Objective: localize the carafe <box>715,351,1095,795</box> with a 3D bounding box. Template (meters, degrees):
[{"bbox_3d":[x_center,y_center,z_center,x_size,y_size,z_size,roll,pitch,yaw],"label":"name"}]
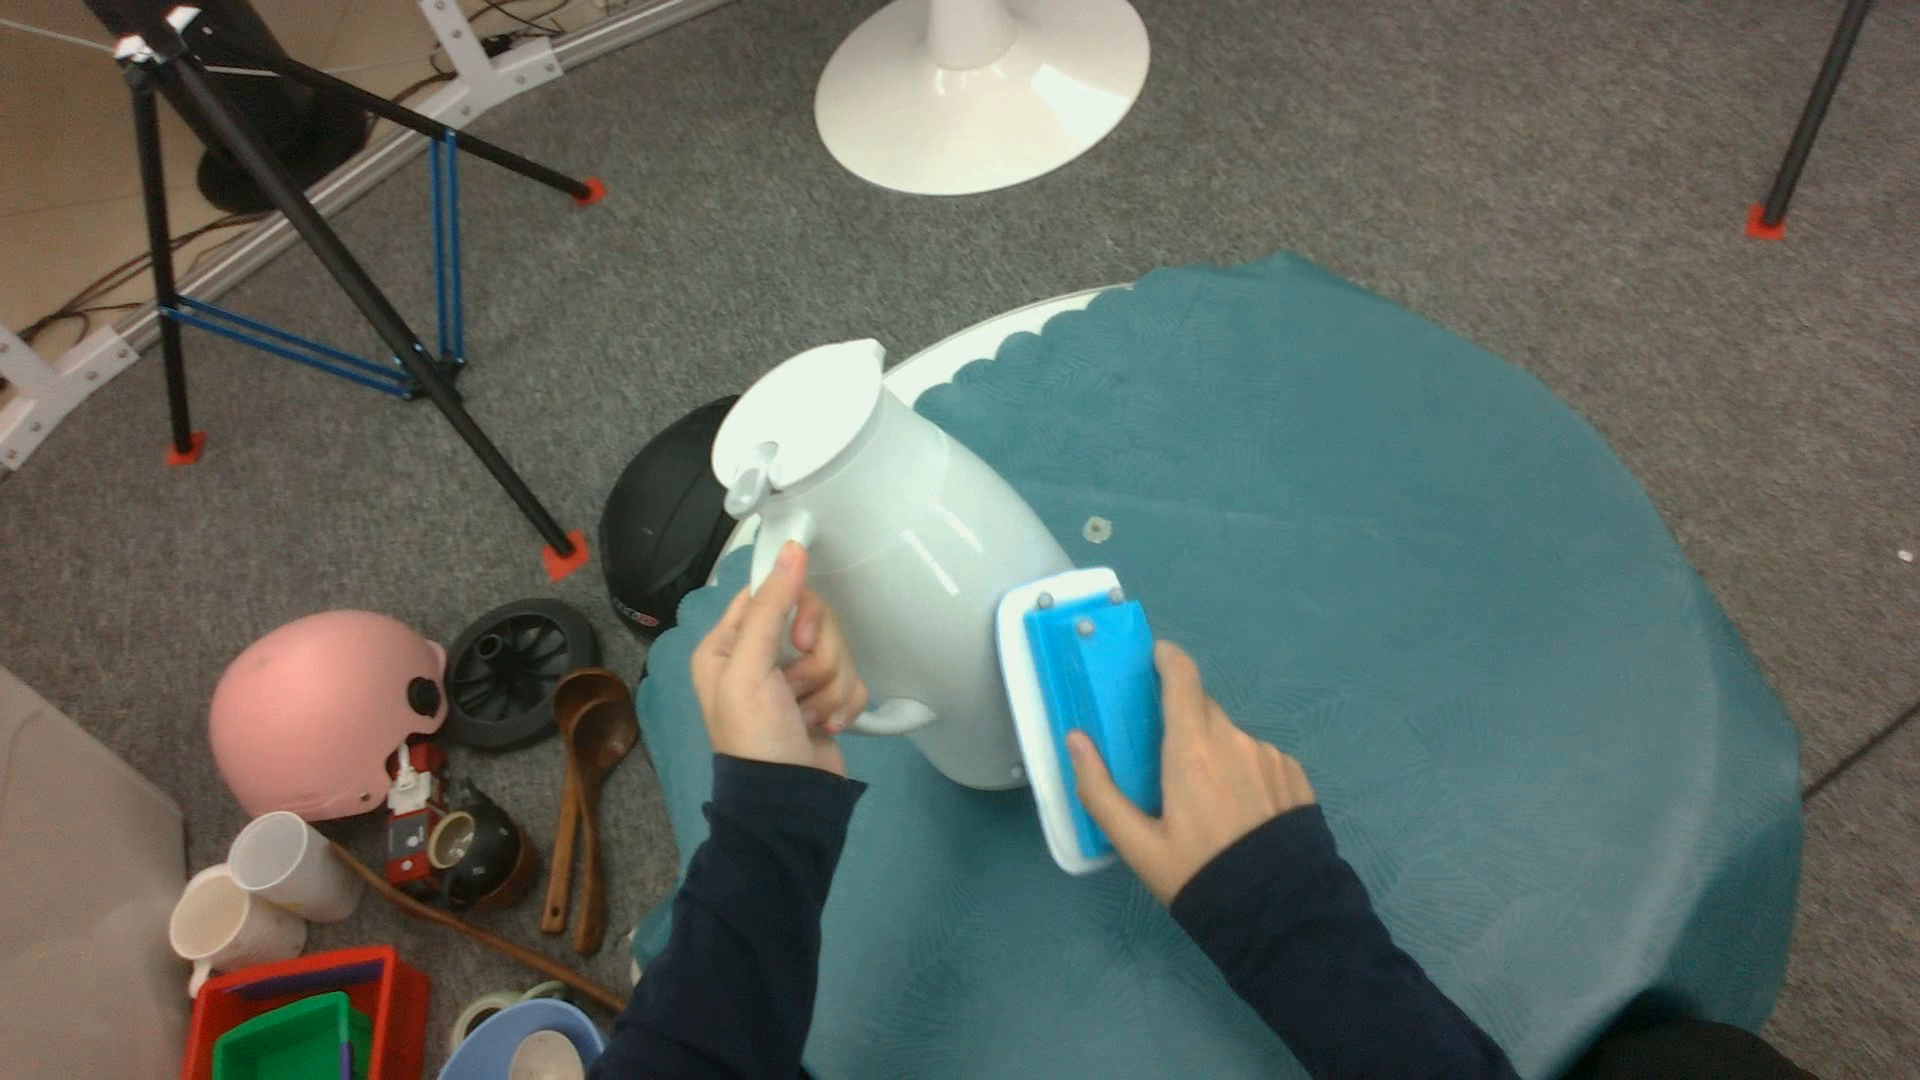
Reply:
[{"bbox_3d":[-0.025,0.032,0.710,0.132,0.248,0.168,-6,51,34],"label":"carafe"}]

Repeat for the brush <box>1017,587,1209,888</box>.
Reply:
[{"bbox_3d":[0.082,0.096,0.676,0.084,0.056,0.144,-12,85,-26],"label":"brush"}]
